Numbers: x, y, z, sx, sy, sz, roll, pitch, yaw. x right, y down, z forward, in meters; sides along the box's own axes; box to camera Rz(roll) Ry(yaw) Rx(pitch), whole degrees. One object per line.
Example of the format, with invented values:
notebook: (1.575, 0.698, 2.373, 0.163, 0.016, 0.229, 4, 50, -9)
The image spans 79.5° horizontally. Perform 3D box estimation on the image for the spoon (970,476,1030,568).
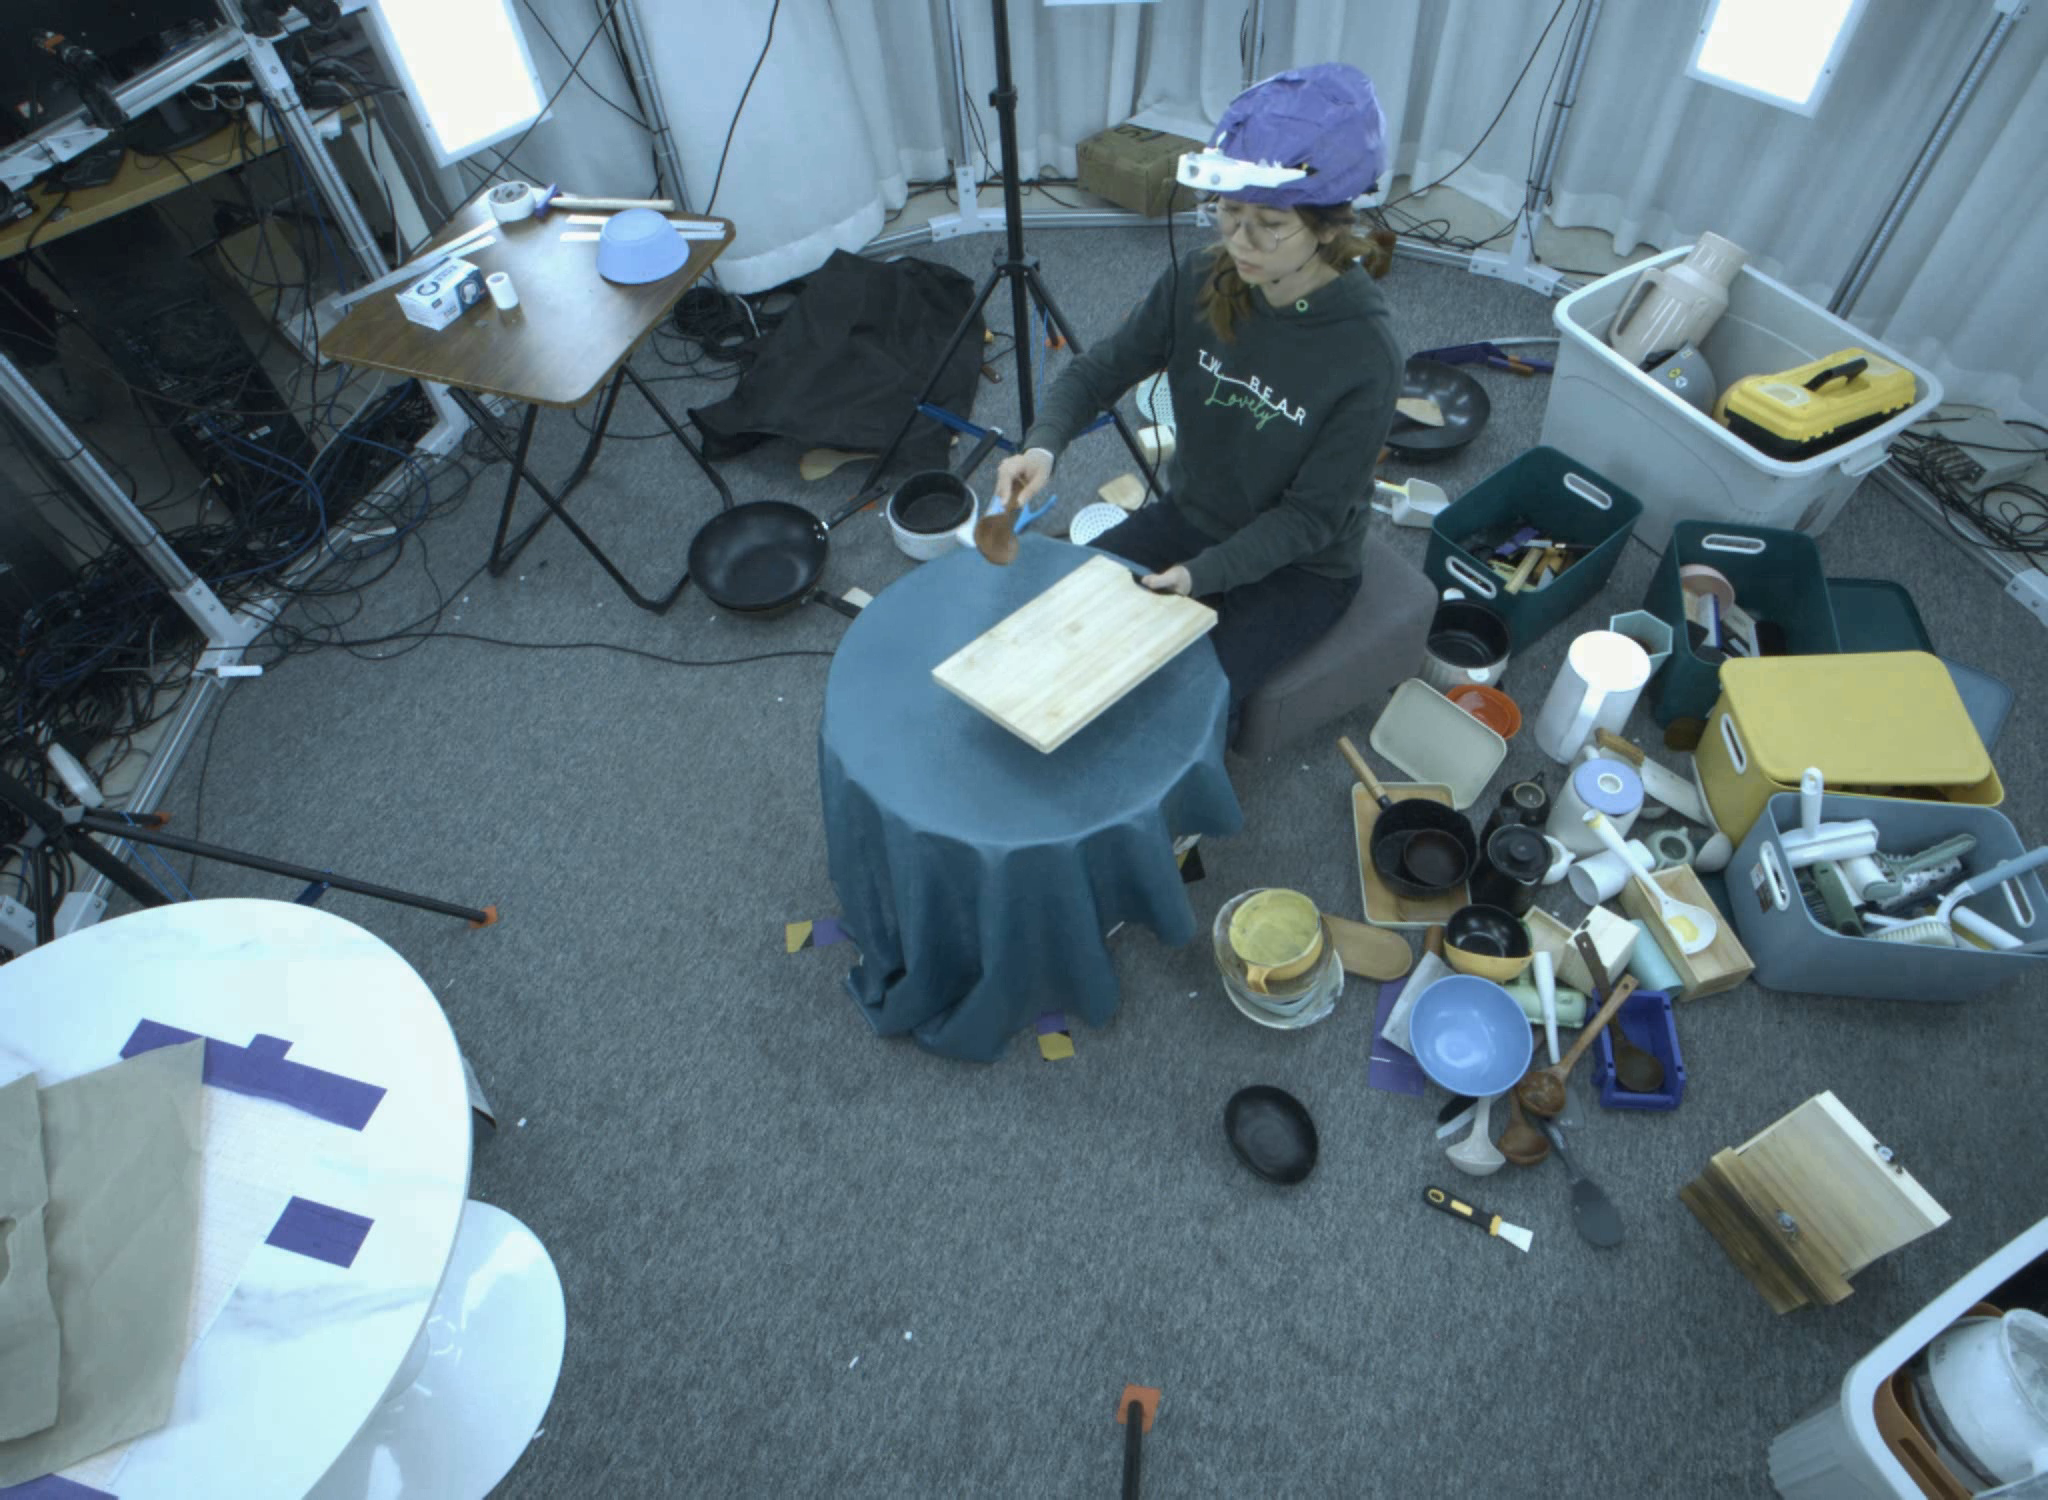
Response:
spoon: (-0.027, -0.326, 1.736, 0.076, 0.017, 0.215, 33, 45, -14)

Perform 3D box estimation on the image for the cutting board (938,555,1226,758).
cutting board: (0.080, -0.144, 1.750, 0.351, 0.024, 0.245, -39, 52, -25)
